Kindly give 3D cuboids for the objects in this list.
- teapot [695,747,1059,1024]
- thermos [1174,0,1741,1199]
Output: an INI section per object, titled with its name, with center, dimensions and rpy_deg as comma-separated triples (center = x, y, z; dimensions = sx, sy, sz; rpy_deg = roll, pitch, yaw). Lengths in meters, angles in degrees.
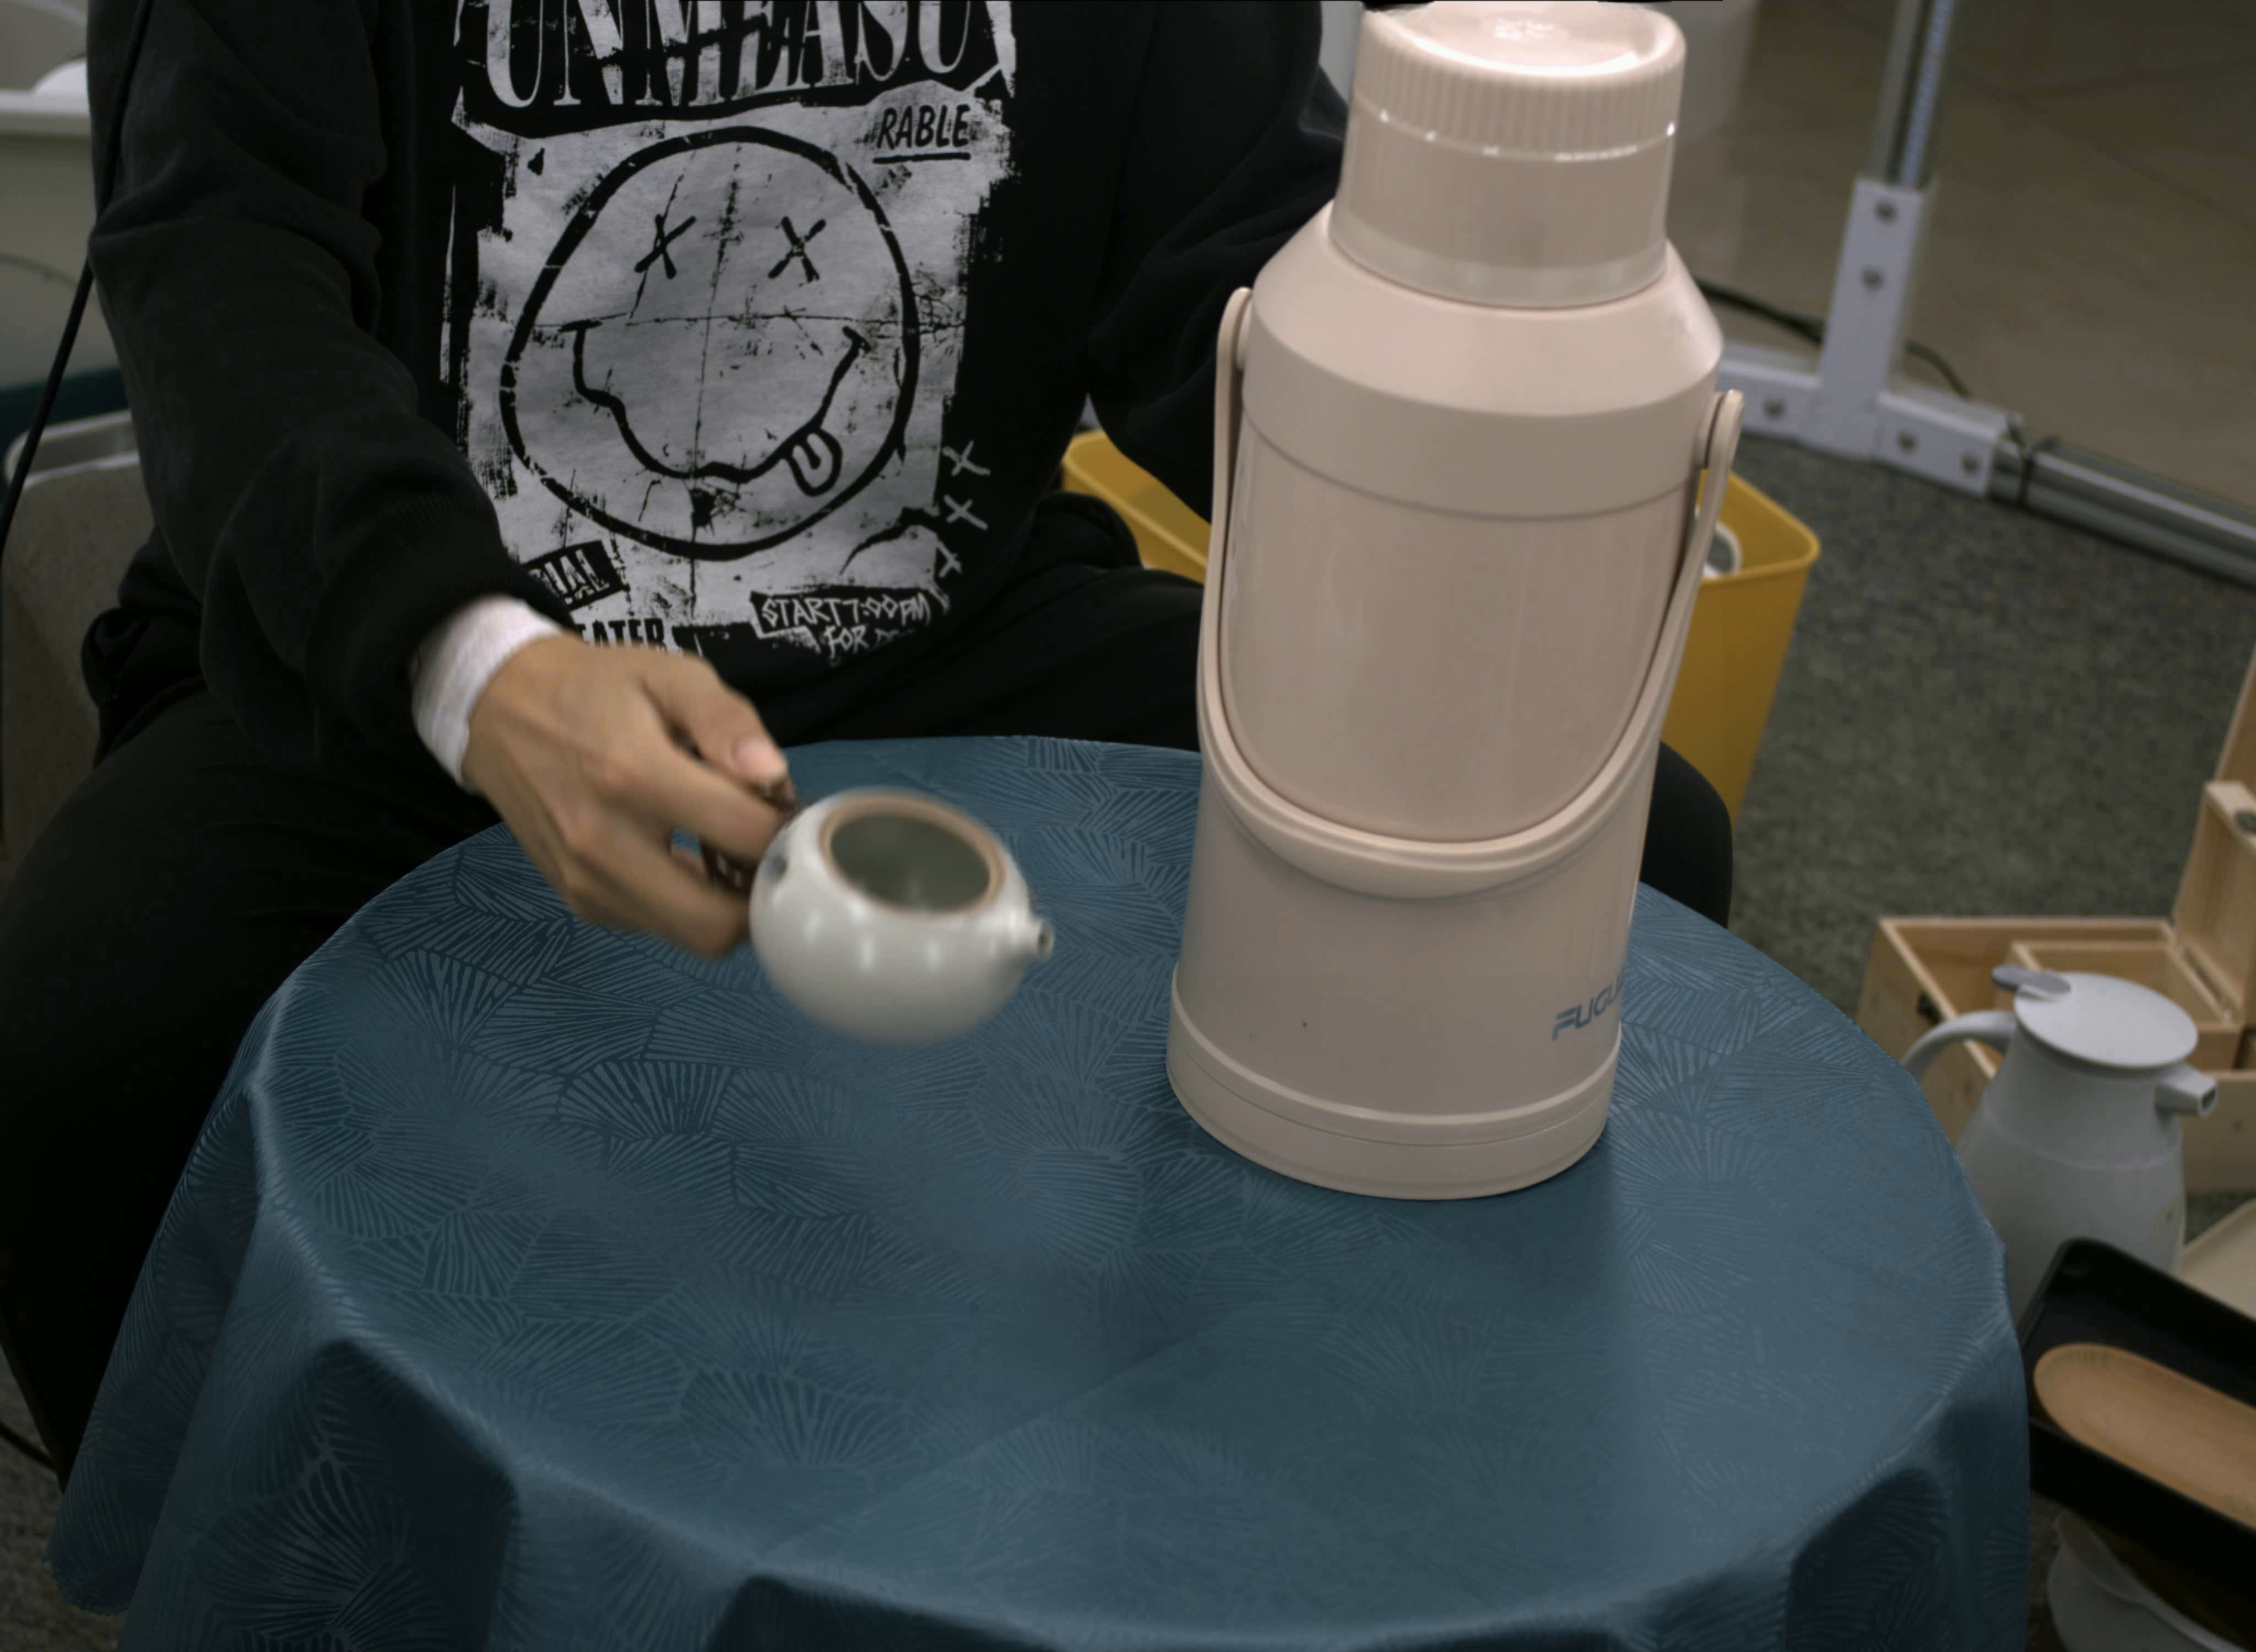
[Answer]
[teapot]
center = -0.083, 0.018, 1.701
dimensions = 0.128, 0.059, 0.092
rpy_deg = 28, 39, 13
[thermos]
center = 0.115, -0.089, 1.808
dimensions = 0.175, 0.405, 0.207
rpy_deg = 11, 29, 13
